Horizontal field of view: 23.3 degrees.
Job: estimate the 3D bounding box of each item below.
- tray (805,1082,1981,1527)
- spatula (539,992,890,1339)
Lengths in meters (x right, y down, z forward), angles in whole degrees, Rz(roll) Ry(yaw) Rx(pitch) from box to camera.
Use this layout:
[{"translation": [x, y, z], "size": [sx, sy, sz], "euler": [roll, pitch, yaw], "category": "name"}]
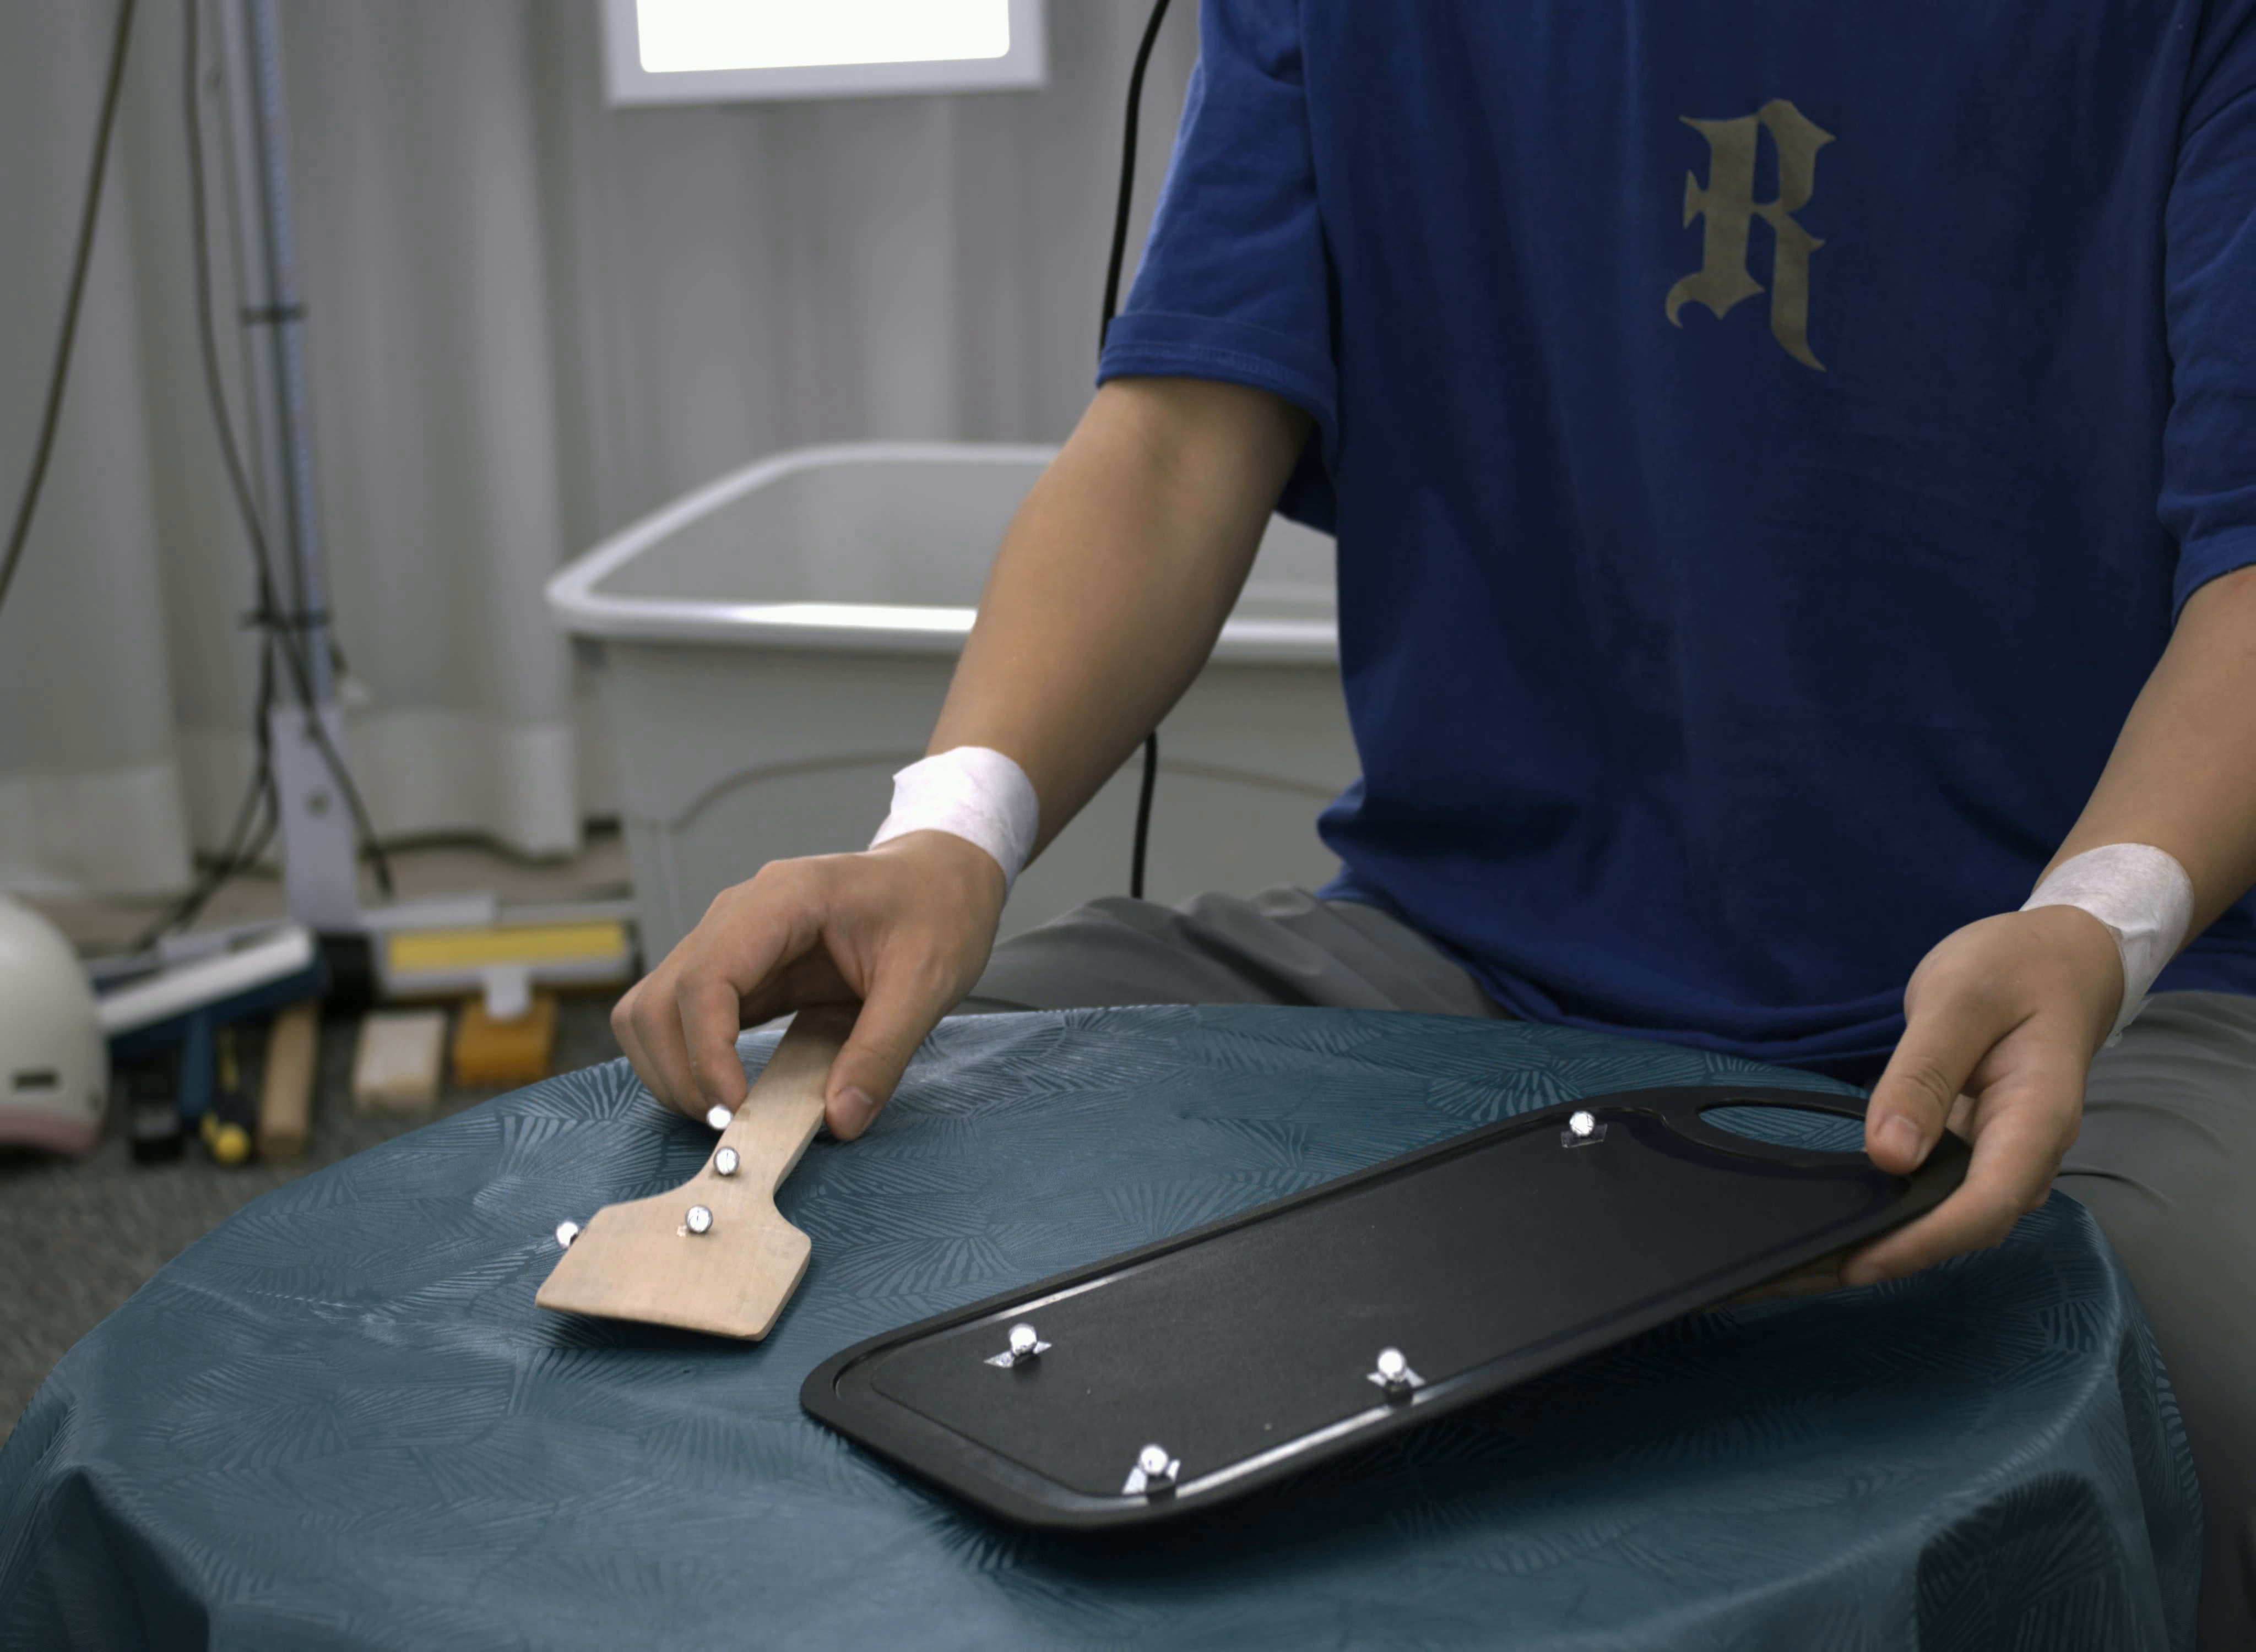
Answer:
[{"translation": [0.080, 0.126, 1.543], "size": [0.324, 0.010, 0.212], "euler": [-18, 14, -24], "category": "tray"}, {"translation": [-0.118, 0.103, 1.730], "size": [0.072, 0.010, 0.295], "euler": [8, 18, 7], "category": "spatula"}]
